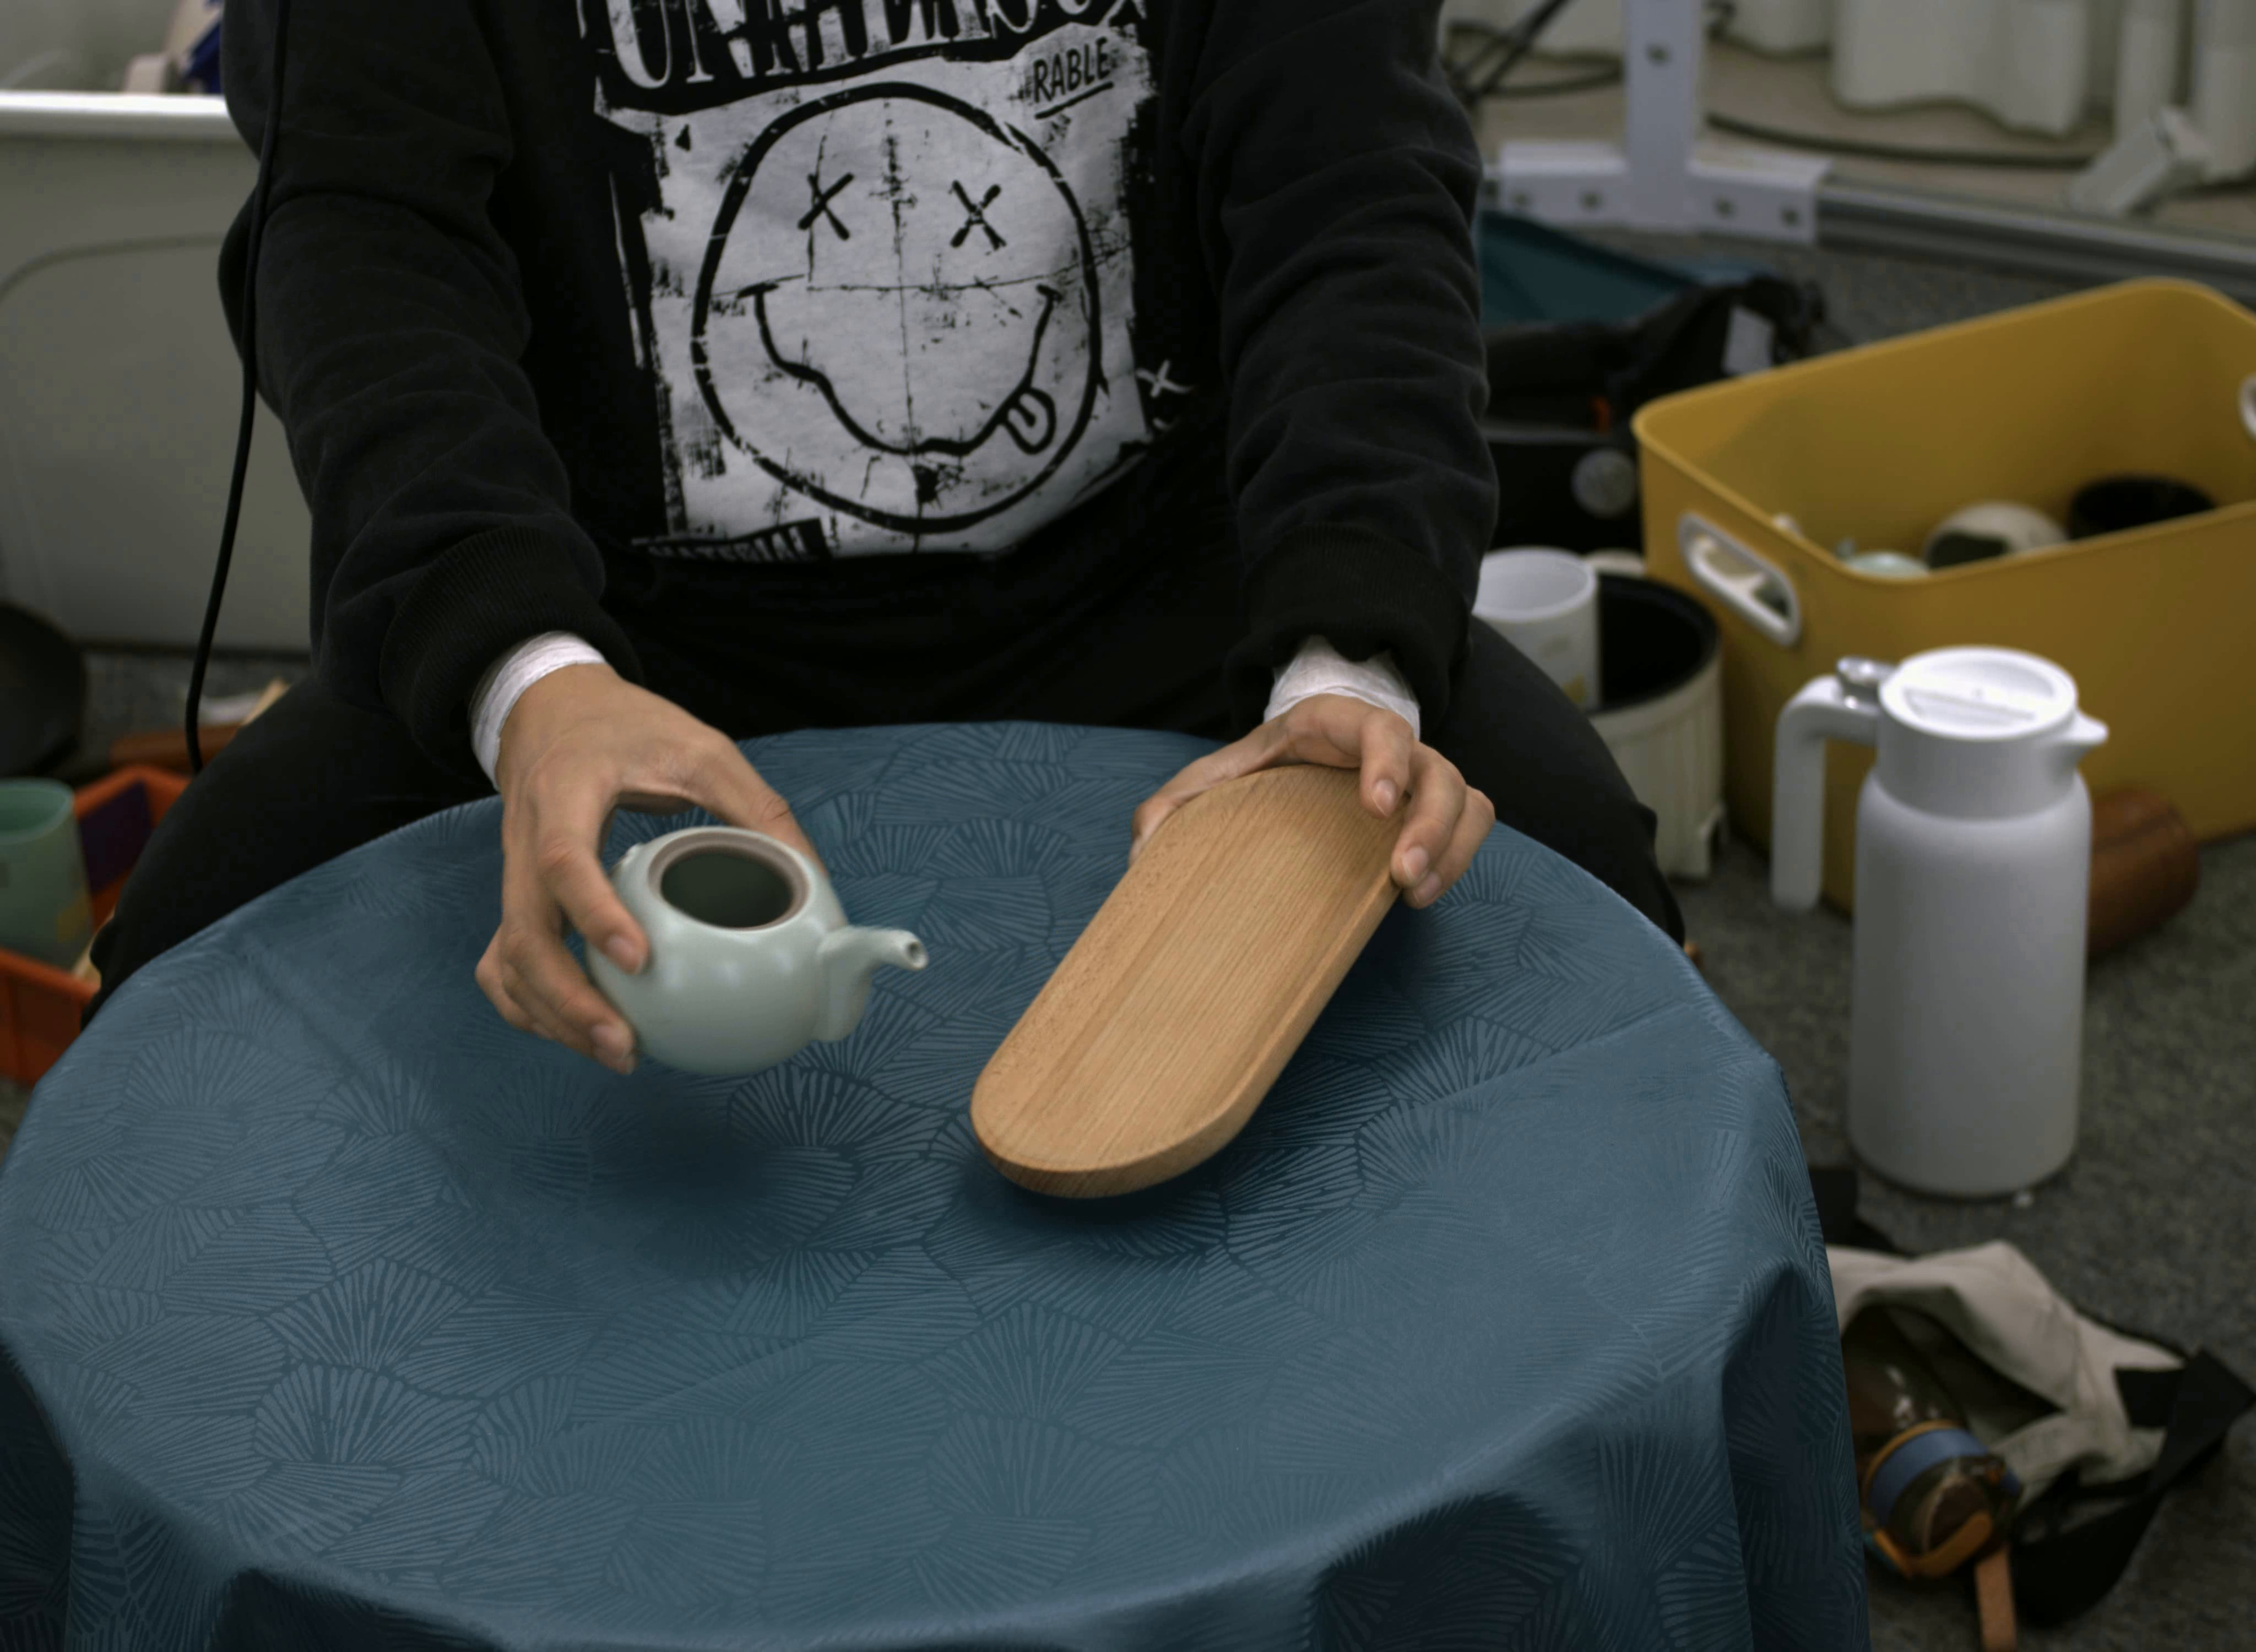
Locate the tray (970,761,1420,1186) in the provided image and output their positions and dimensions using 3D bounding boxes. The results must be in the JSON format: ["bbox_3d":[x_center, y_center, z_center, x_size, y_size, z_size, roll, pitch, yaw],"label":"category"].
[{"bbox_3d":[0.025,0.048,1.913,0.101,0.020,0.235,4,35,28],"label":"tray"}]

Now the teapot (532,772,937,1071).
[{"bbox_3d":[-0.134,0.039,1.860,0.143,0.073,0.090,26,36,11],"label":"teapot"}]
